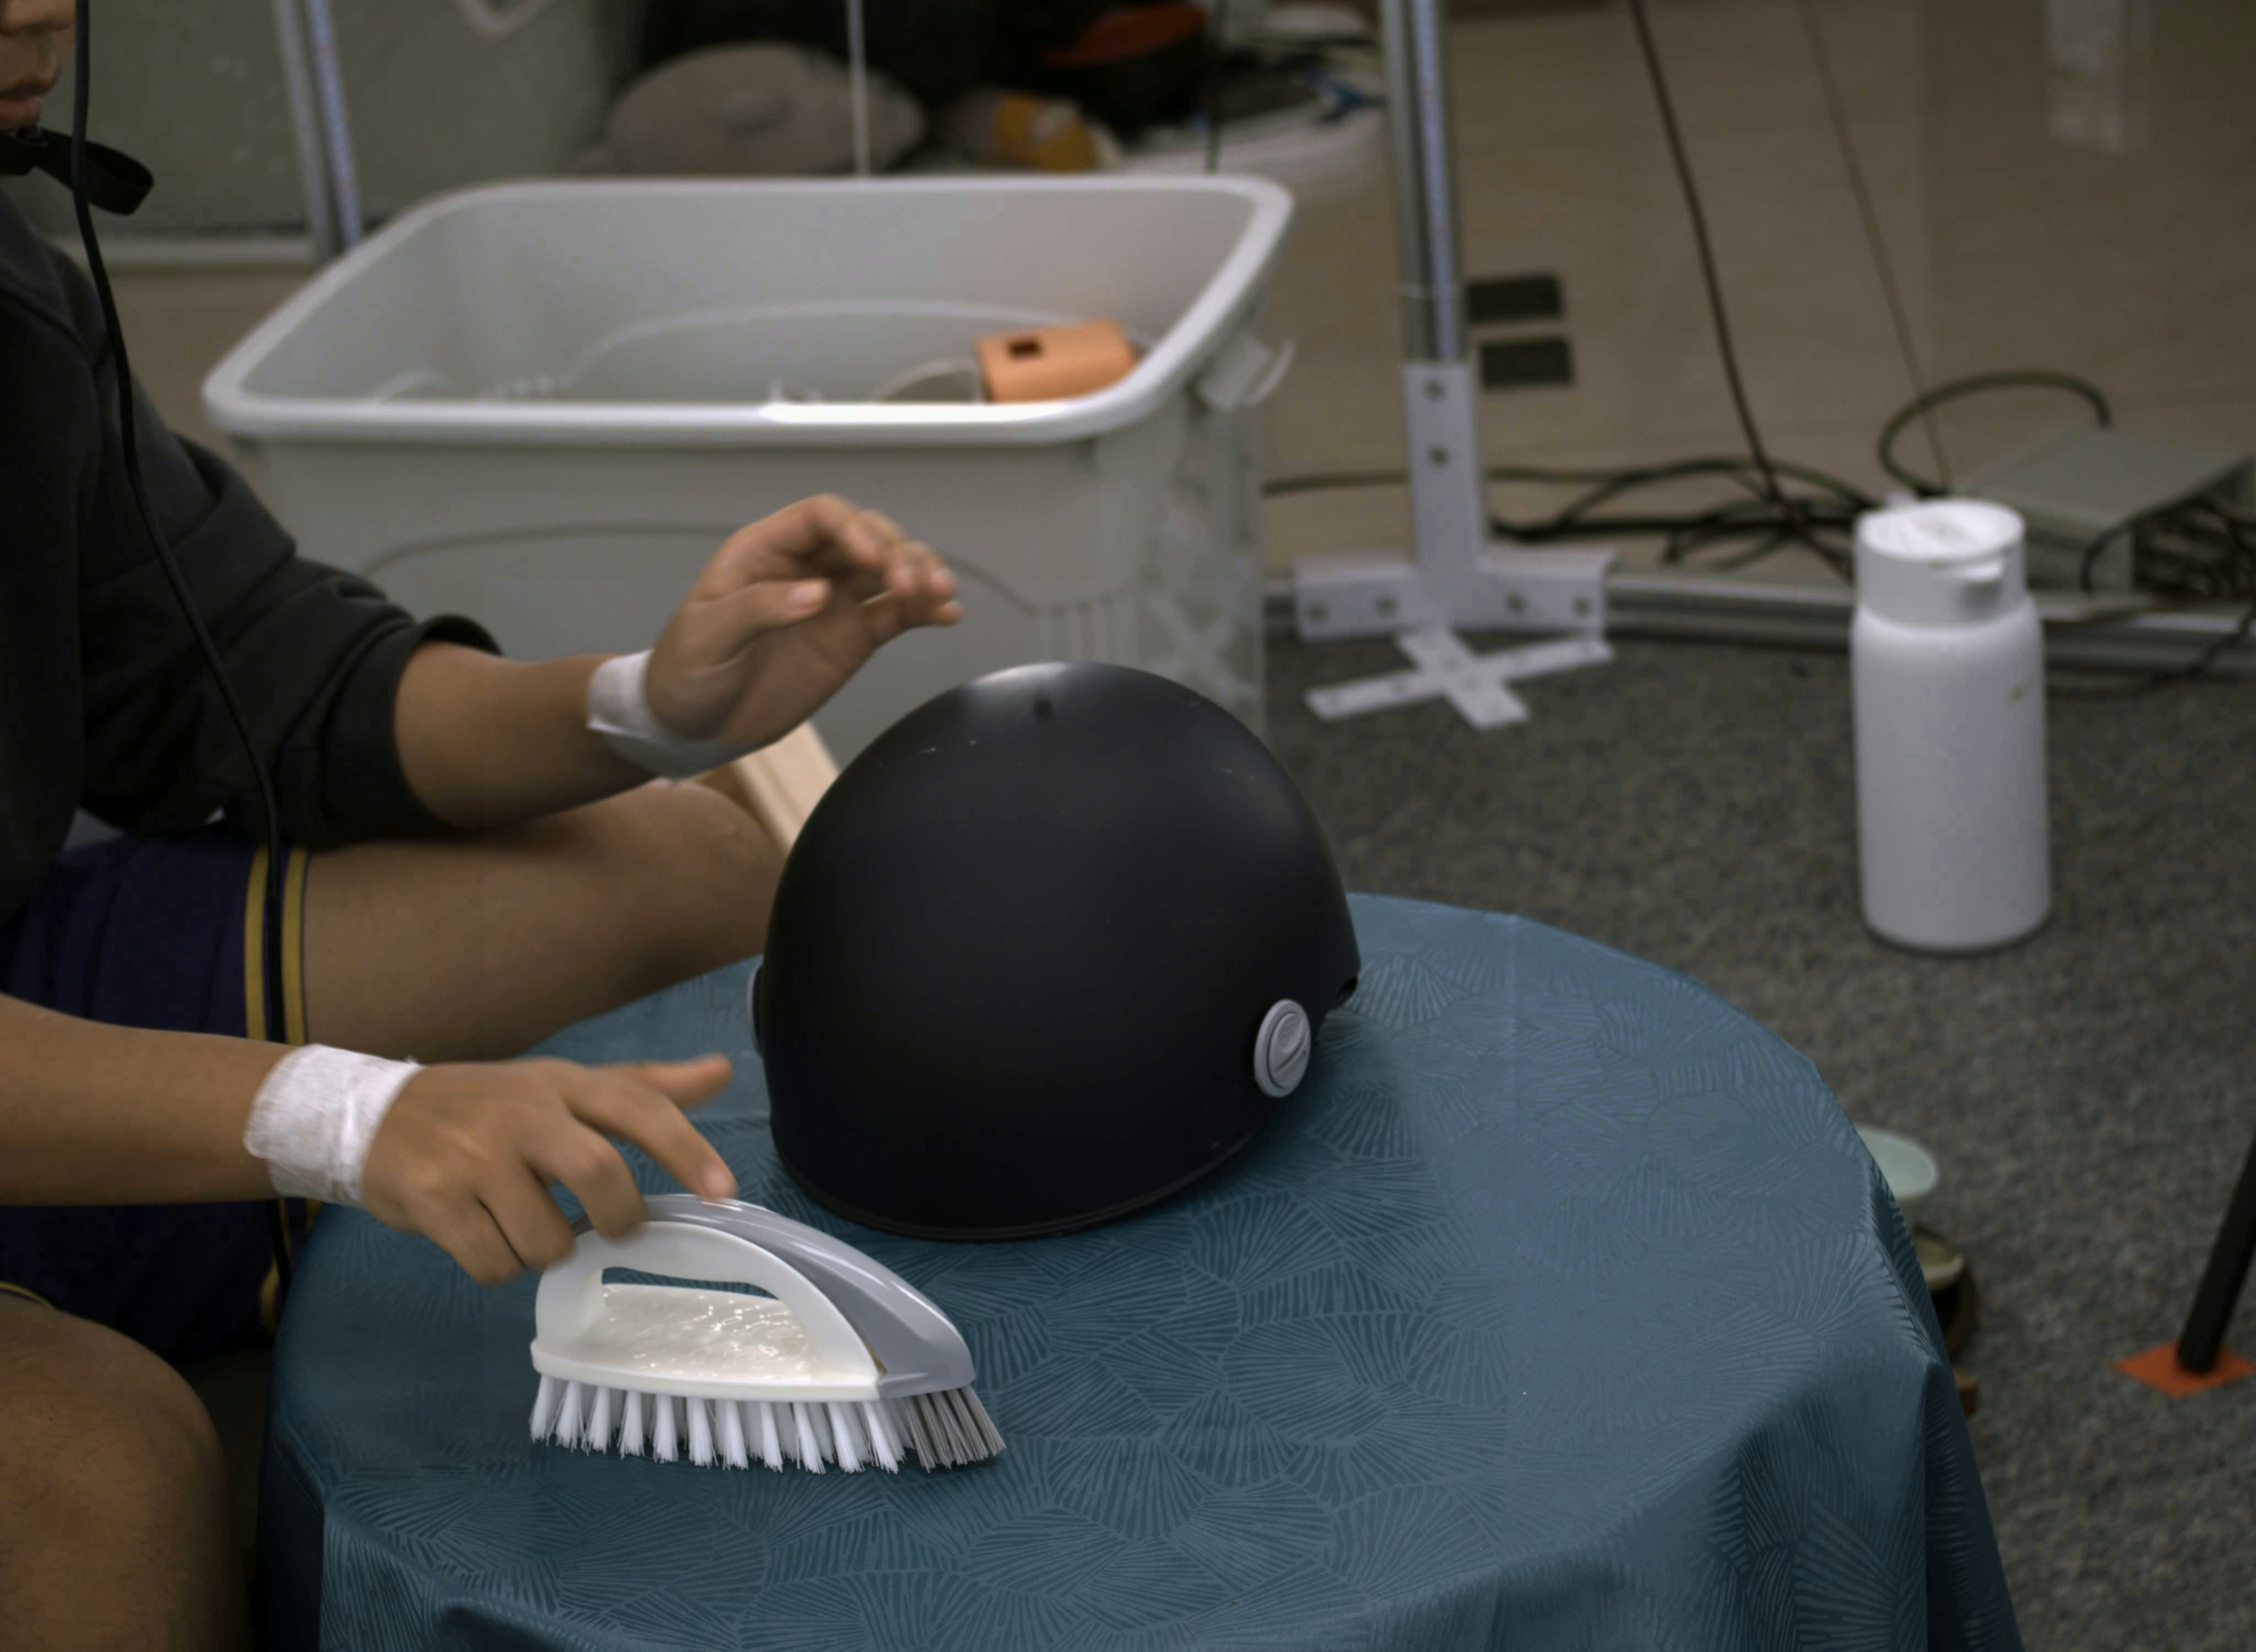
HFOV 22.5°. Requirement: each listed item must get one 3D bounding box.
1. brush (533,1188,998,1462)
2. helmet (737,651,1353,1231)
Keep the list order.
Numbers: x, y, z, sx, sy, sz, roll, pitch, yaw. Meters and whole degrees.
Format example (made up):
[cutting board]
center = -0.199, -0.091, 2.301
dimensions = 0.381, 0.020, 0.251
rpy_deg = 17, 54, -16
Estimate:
[brush]
center = -0.130, 0.173, 1.998
dimensions = 0.175, 0.096, 0.060
rpy_deg = 7, 32, 23
[helmet]
center = -0.036, 0.028, 2.202
dimensions = 0.229, 0.169, 0.269
rpy_deg = 4, 29, 23
